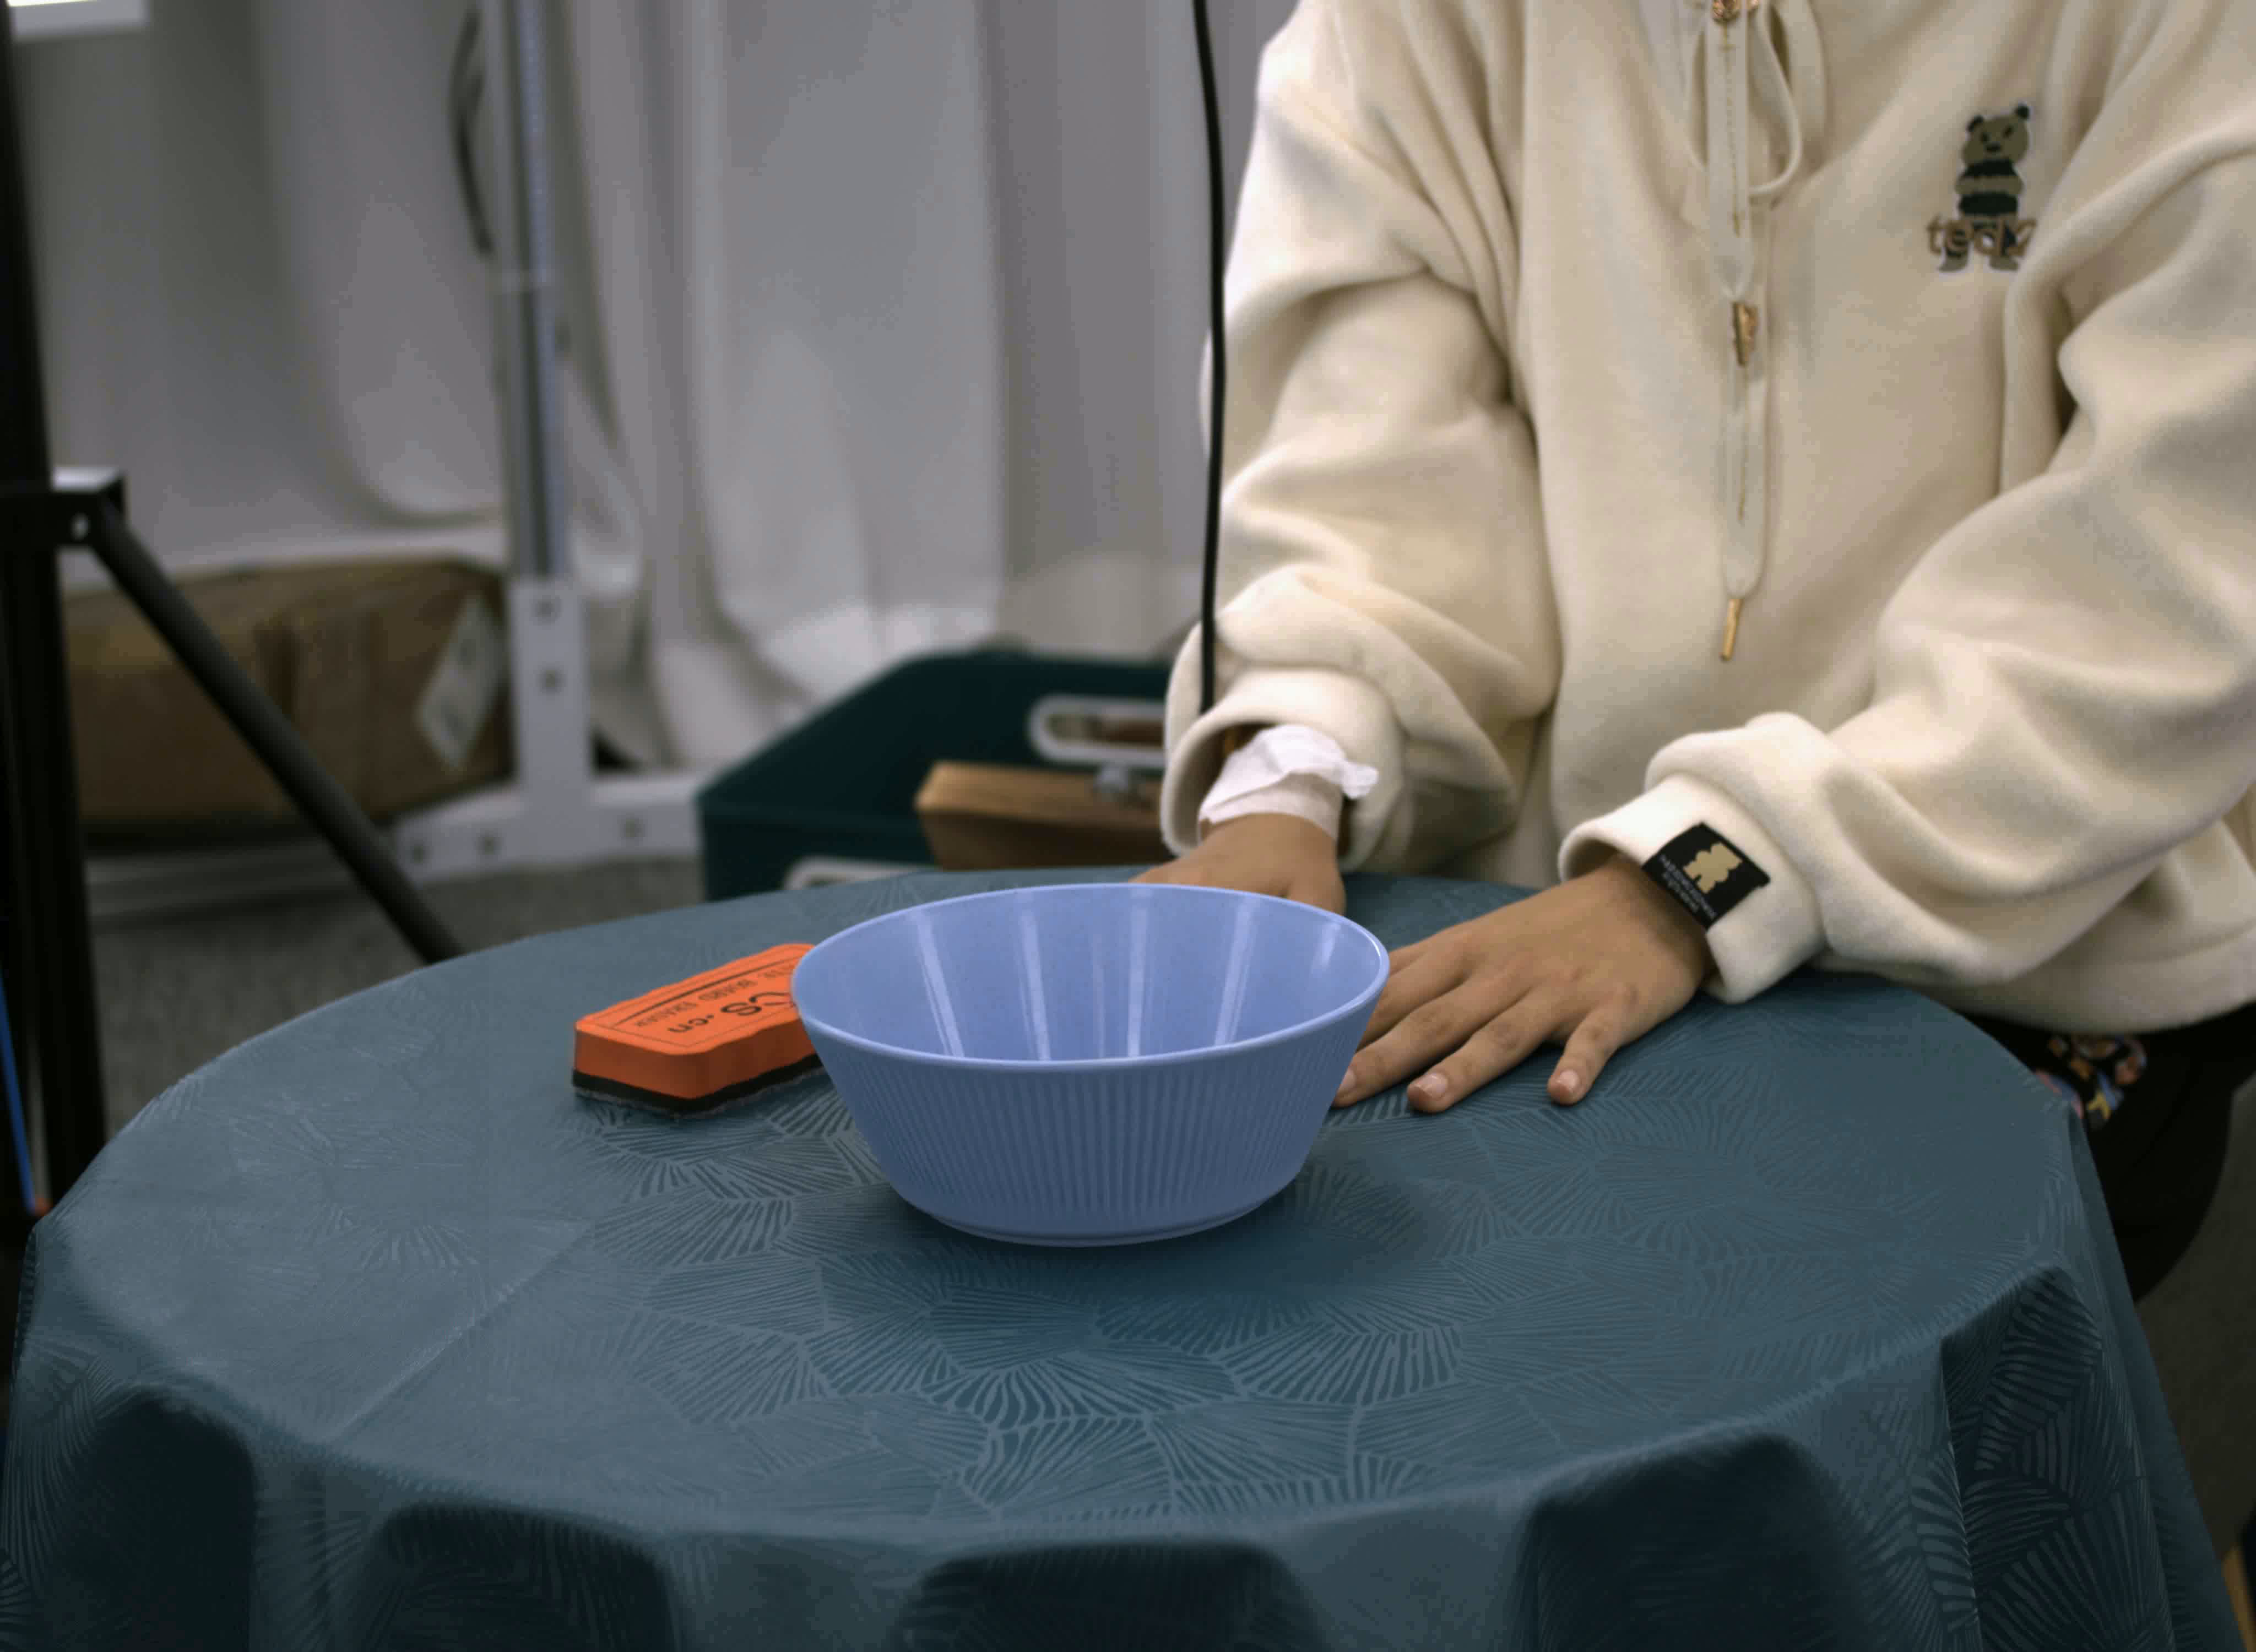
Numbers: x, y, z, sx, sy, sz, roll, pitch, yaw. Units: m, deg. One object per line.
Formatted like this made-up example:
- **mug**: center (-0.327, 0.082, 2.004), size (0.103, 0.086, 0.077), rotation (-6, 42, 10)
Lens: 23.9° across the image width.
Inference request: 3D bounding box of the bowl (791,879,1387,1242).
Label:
- **bowl**: center (-0.010, 0.071, 1.558), size (0.175, 0.070, 0.177), rotation (-3, 16, -1)

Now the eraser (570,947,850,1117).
- **eraser**: center (-0.122, 0.065, 1.689), size (0.060, 0.023, 0.105), rotation (8, 19, 41)
